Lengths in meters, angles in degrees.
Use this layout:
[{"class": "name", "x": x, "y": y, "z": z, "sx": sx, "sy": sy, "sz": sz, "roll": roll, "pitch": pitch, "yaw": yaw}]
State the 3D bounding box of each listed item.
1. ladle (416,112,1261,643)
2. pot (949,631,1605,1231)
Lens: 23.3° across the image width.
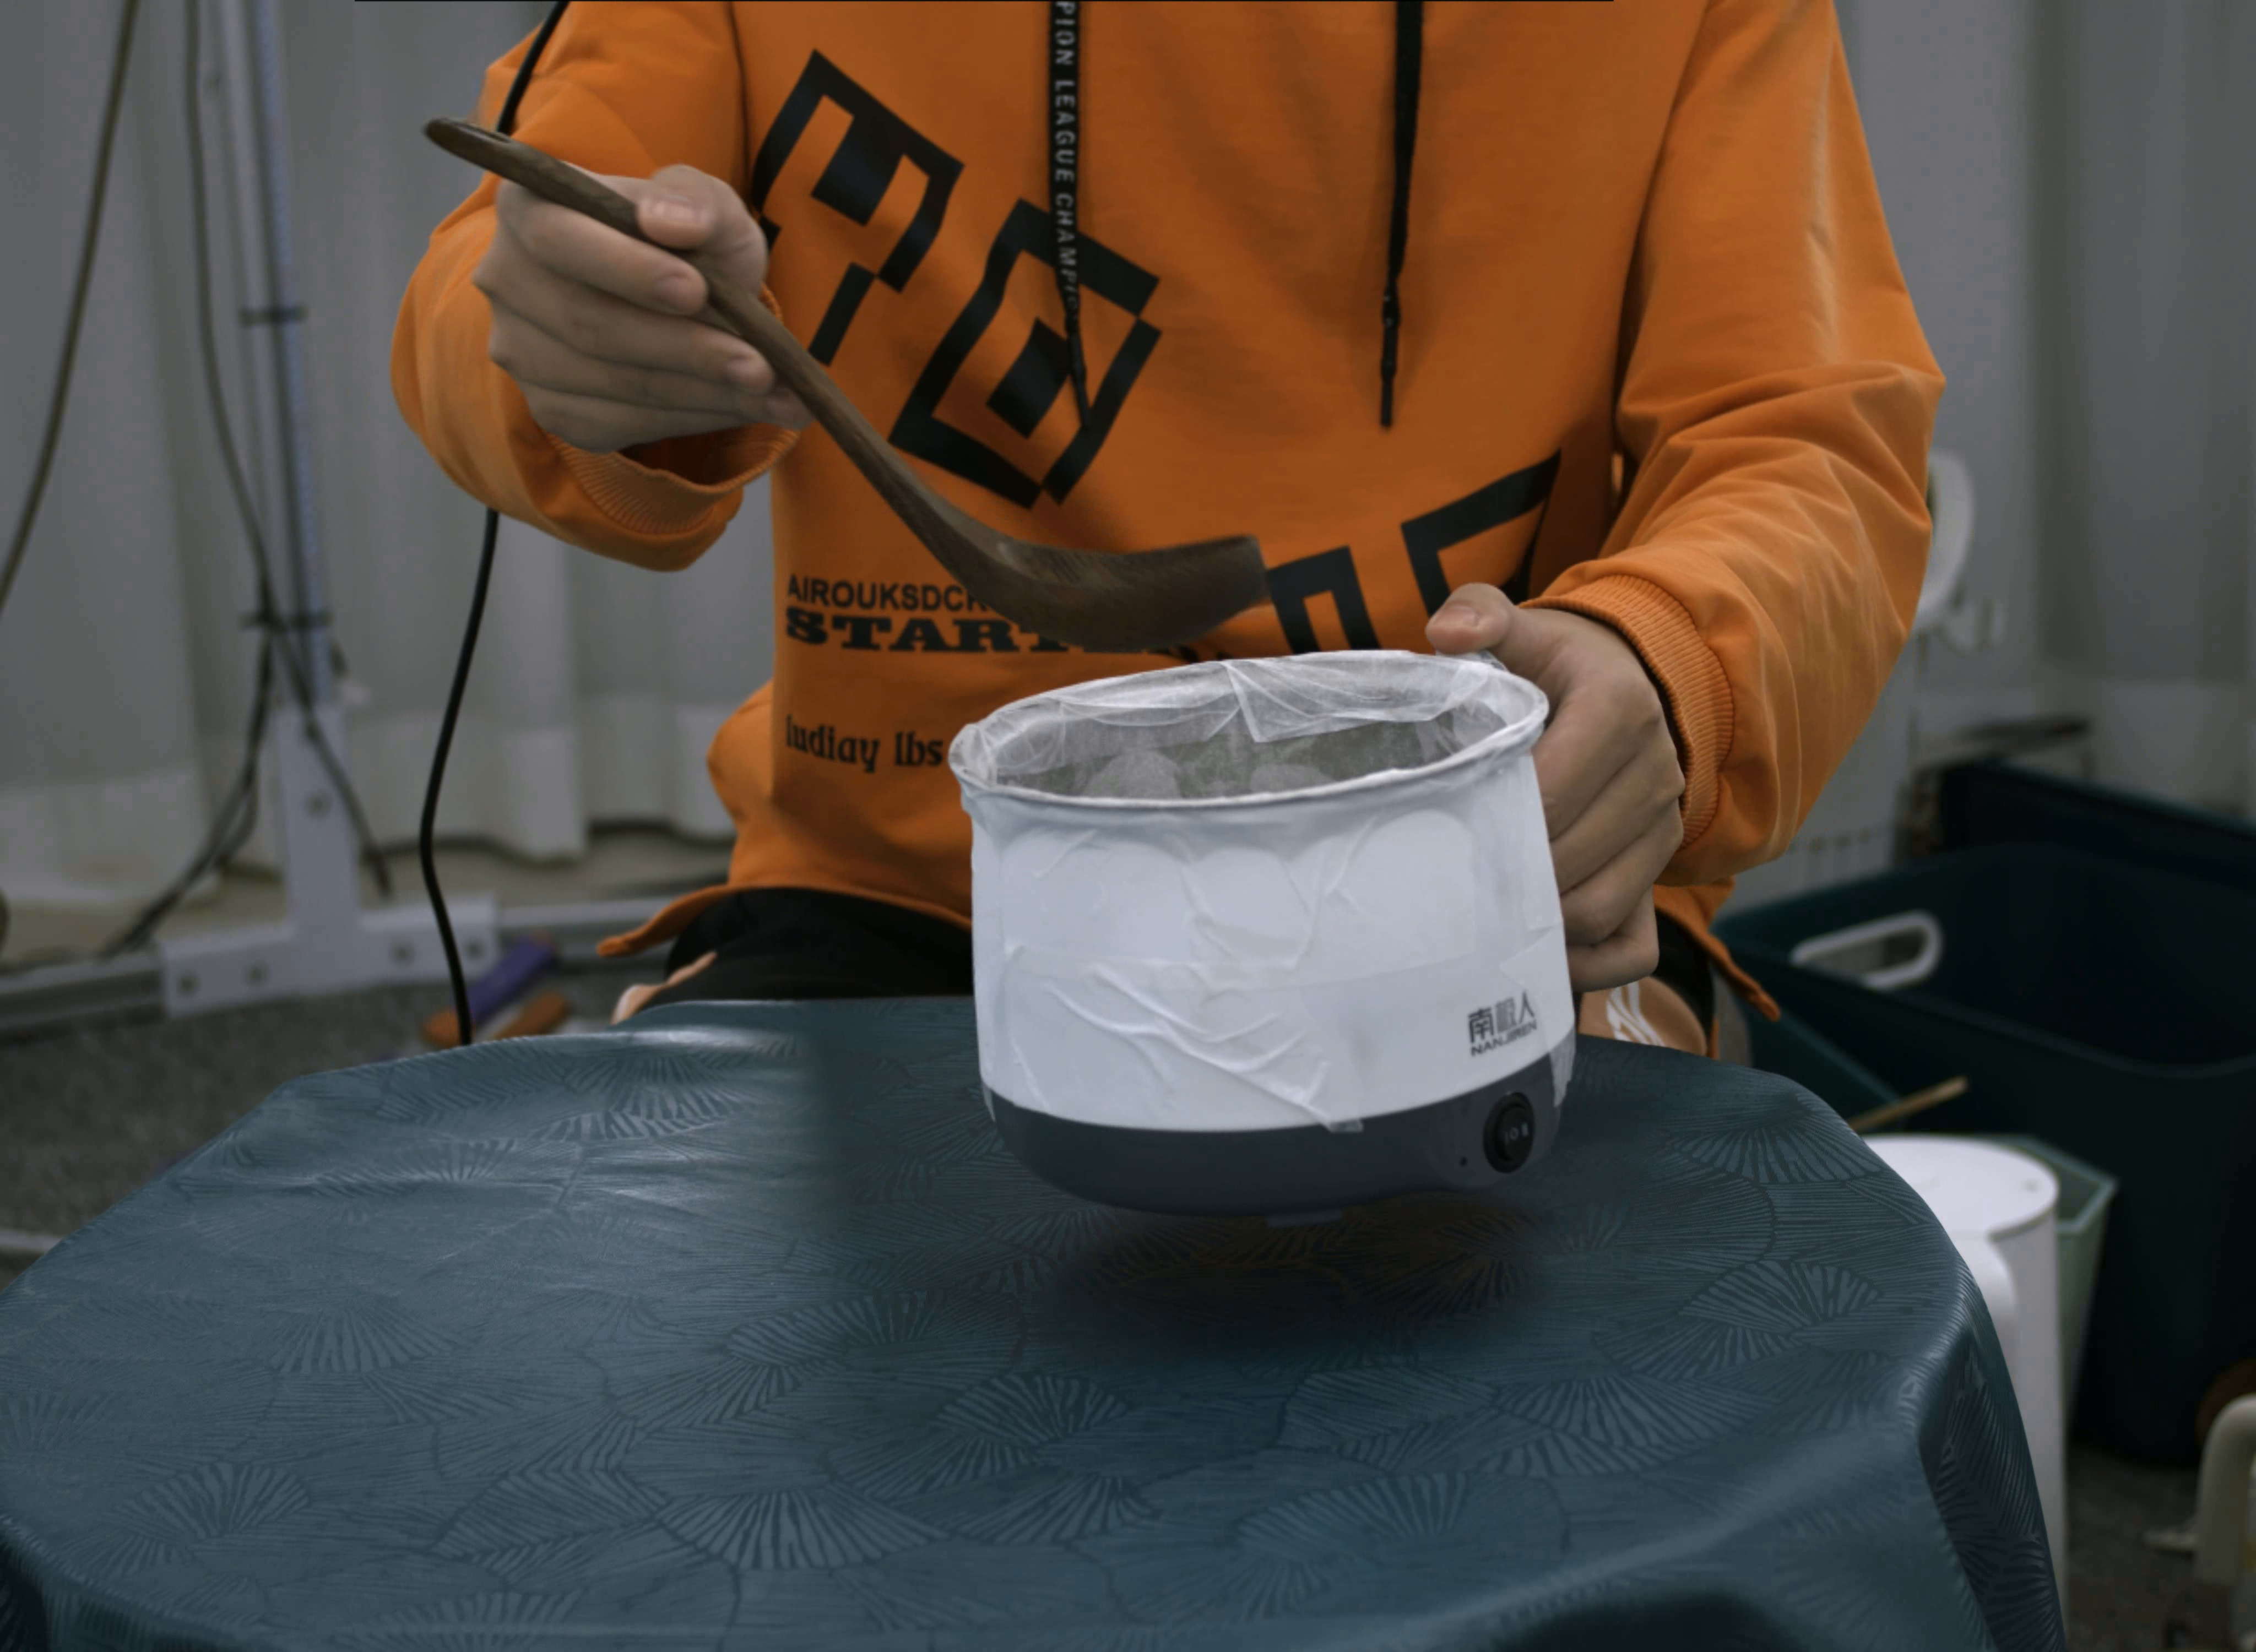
[{"class": "ladle", "x": -0.082, "y": -0.144, "z": 1.592, "sx": 0.274, "sy": 0.071, "sz": 0.076, "roll": 40, "pitch": 10, "yaw": 3}, {"class": "pot", "x": 0.059, "y": 0.024, "z": 1.631, "sx": 0.179, "sy": 0.136, "sz": 0.233, "roll": 7, "pitch": 19, "yaw": 40}]
